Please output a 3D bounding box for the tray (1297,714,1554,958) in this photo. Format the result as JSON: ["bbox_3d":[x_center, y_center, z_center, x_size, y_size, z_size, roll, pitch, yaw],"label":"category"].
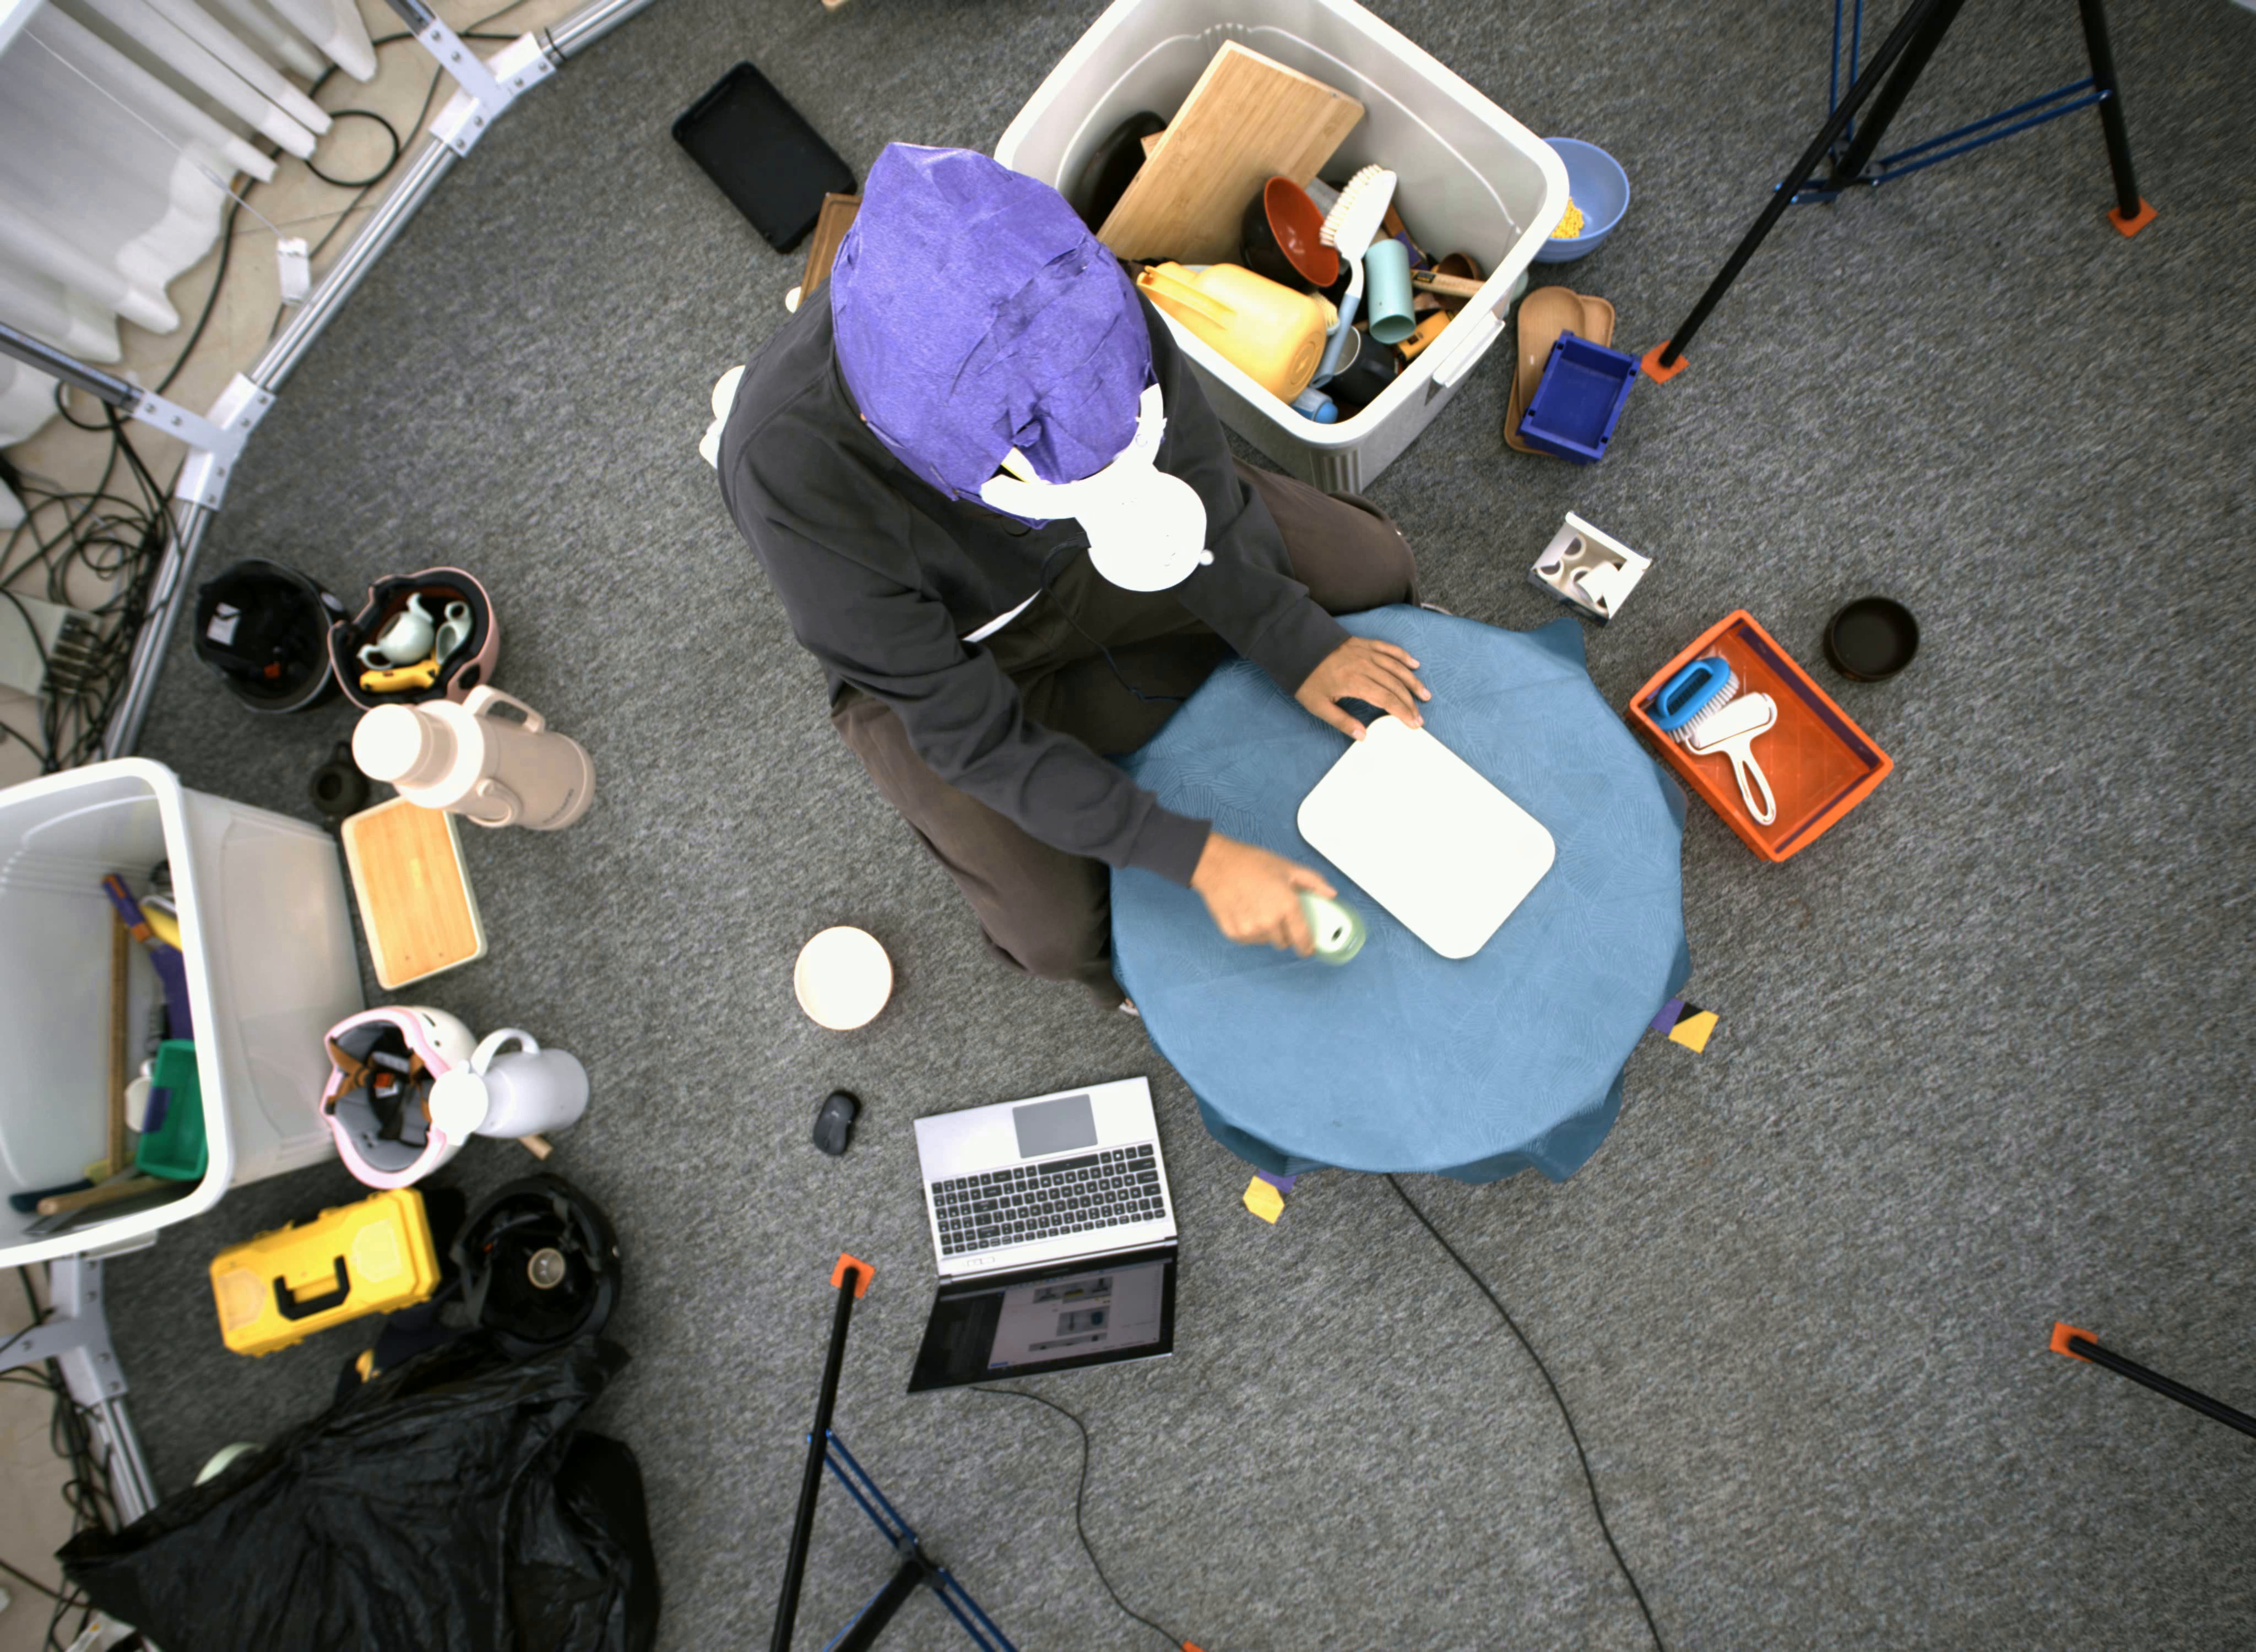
[{"bbox_3d":[0.311,0.008,1.448,0.238,0.017,0.172,41,94,11],"label":"tray"}]

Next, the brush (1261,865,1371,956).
[{"bbox_3d":[0.190,0.084,1.397,0.122,0.076,0.060,33,91,31],"label":"brush"}]
